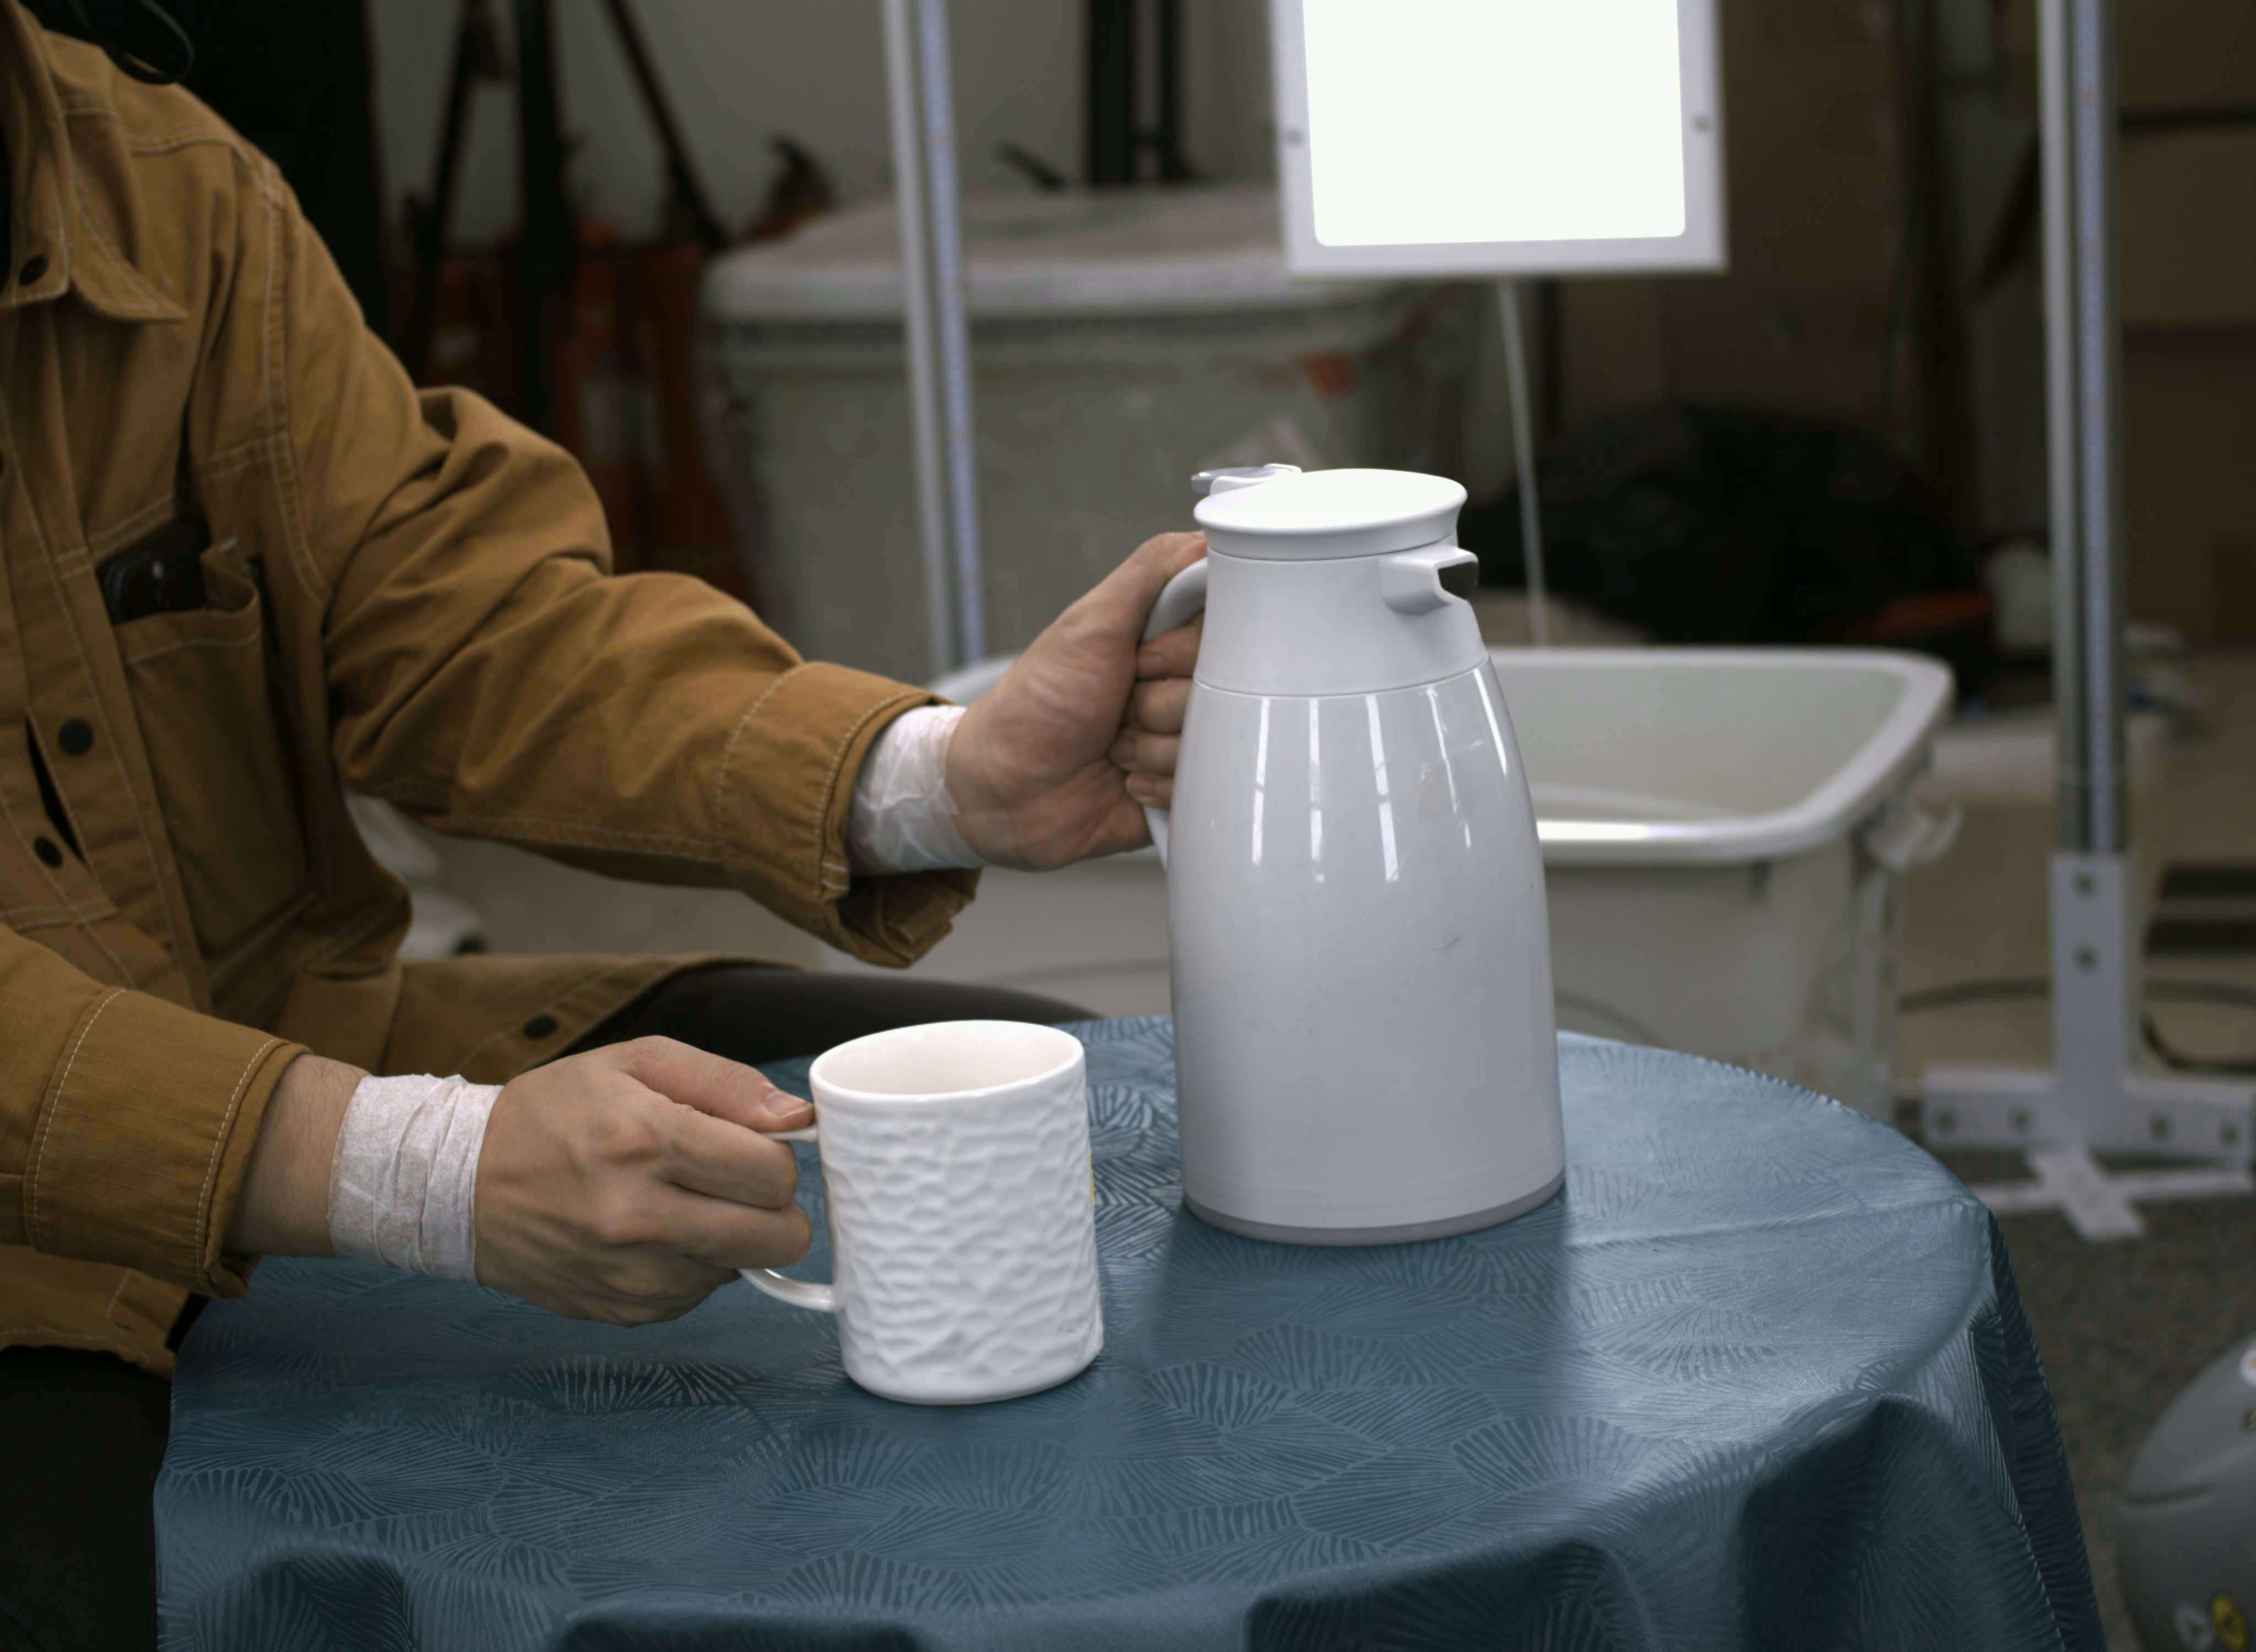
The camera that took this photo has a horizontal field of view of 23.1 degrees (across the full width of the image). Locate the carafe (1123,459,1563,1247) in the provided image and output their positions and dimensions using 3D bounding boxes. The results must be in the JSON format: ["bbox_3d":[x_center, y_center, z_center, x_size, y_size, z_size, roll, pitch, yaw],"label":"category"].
[{"bbox_3d":[0.061,0.001,1.865,0.129,0.249,0.171,-16,18,-37],"label":"carafe"}]

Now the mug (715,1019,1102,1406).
[{"bbox_3d":[-0.069,0.122,1.728,0.118,0.102,0.085,-5,13,1],"label":"mug"}]
